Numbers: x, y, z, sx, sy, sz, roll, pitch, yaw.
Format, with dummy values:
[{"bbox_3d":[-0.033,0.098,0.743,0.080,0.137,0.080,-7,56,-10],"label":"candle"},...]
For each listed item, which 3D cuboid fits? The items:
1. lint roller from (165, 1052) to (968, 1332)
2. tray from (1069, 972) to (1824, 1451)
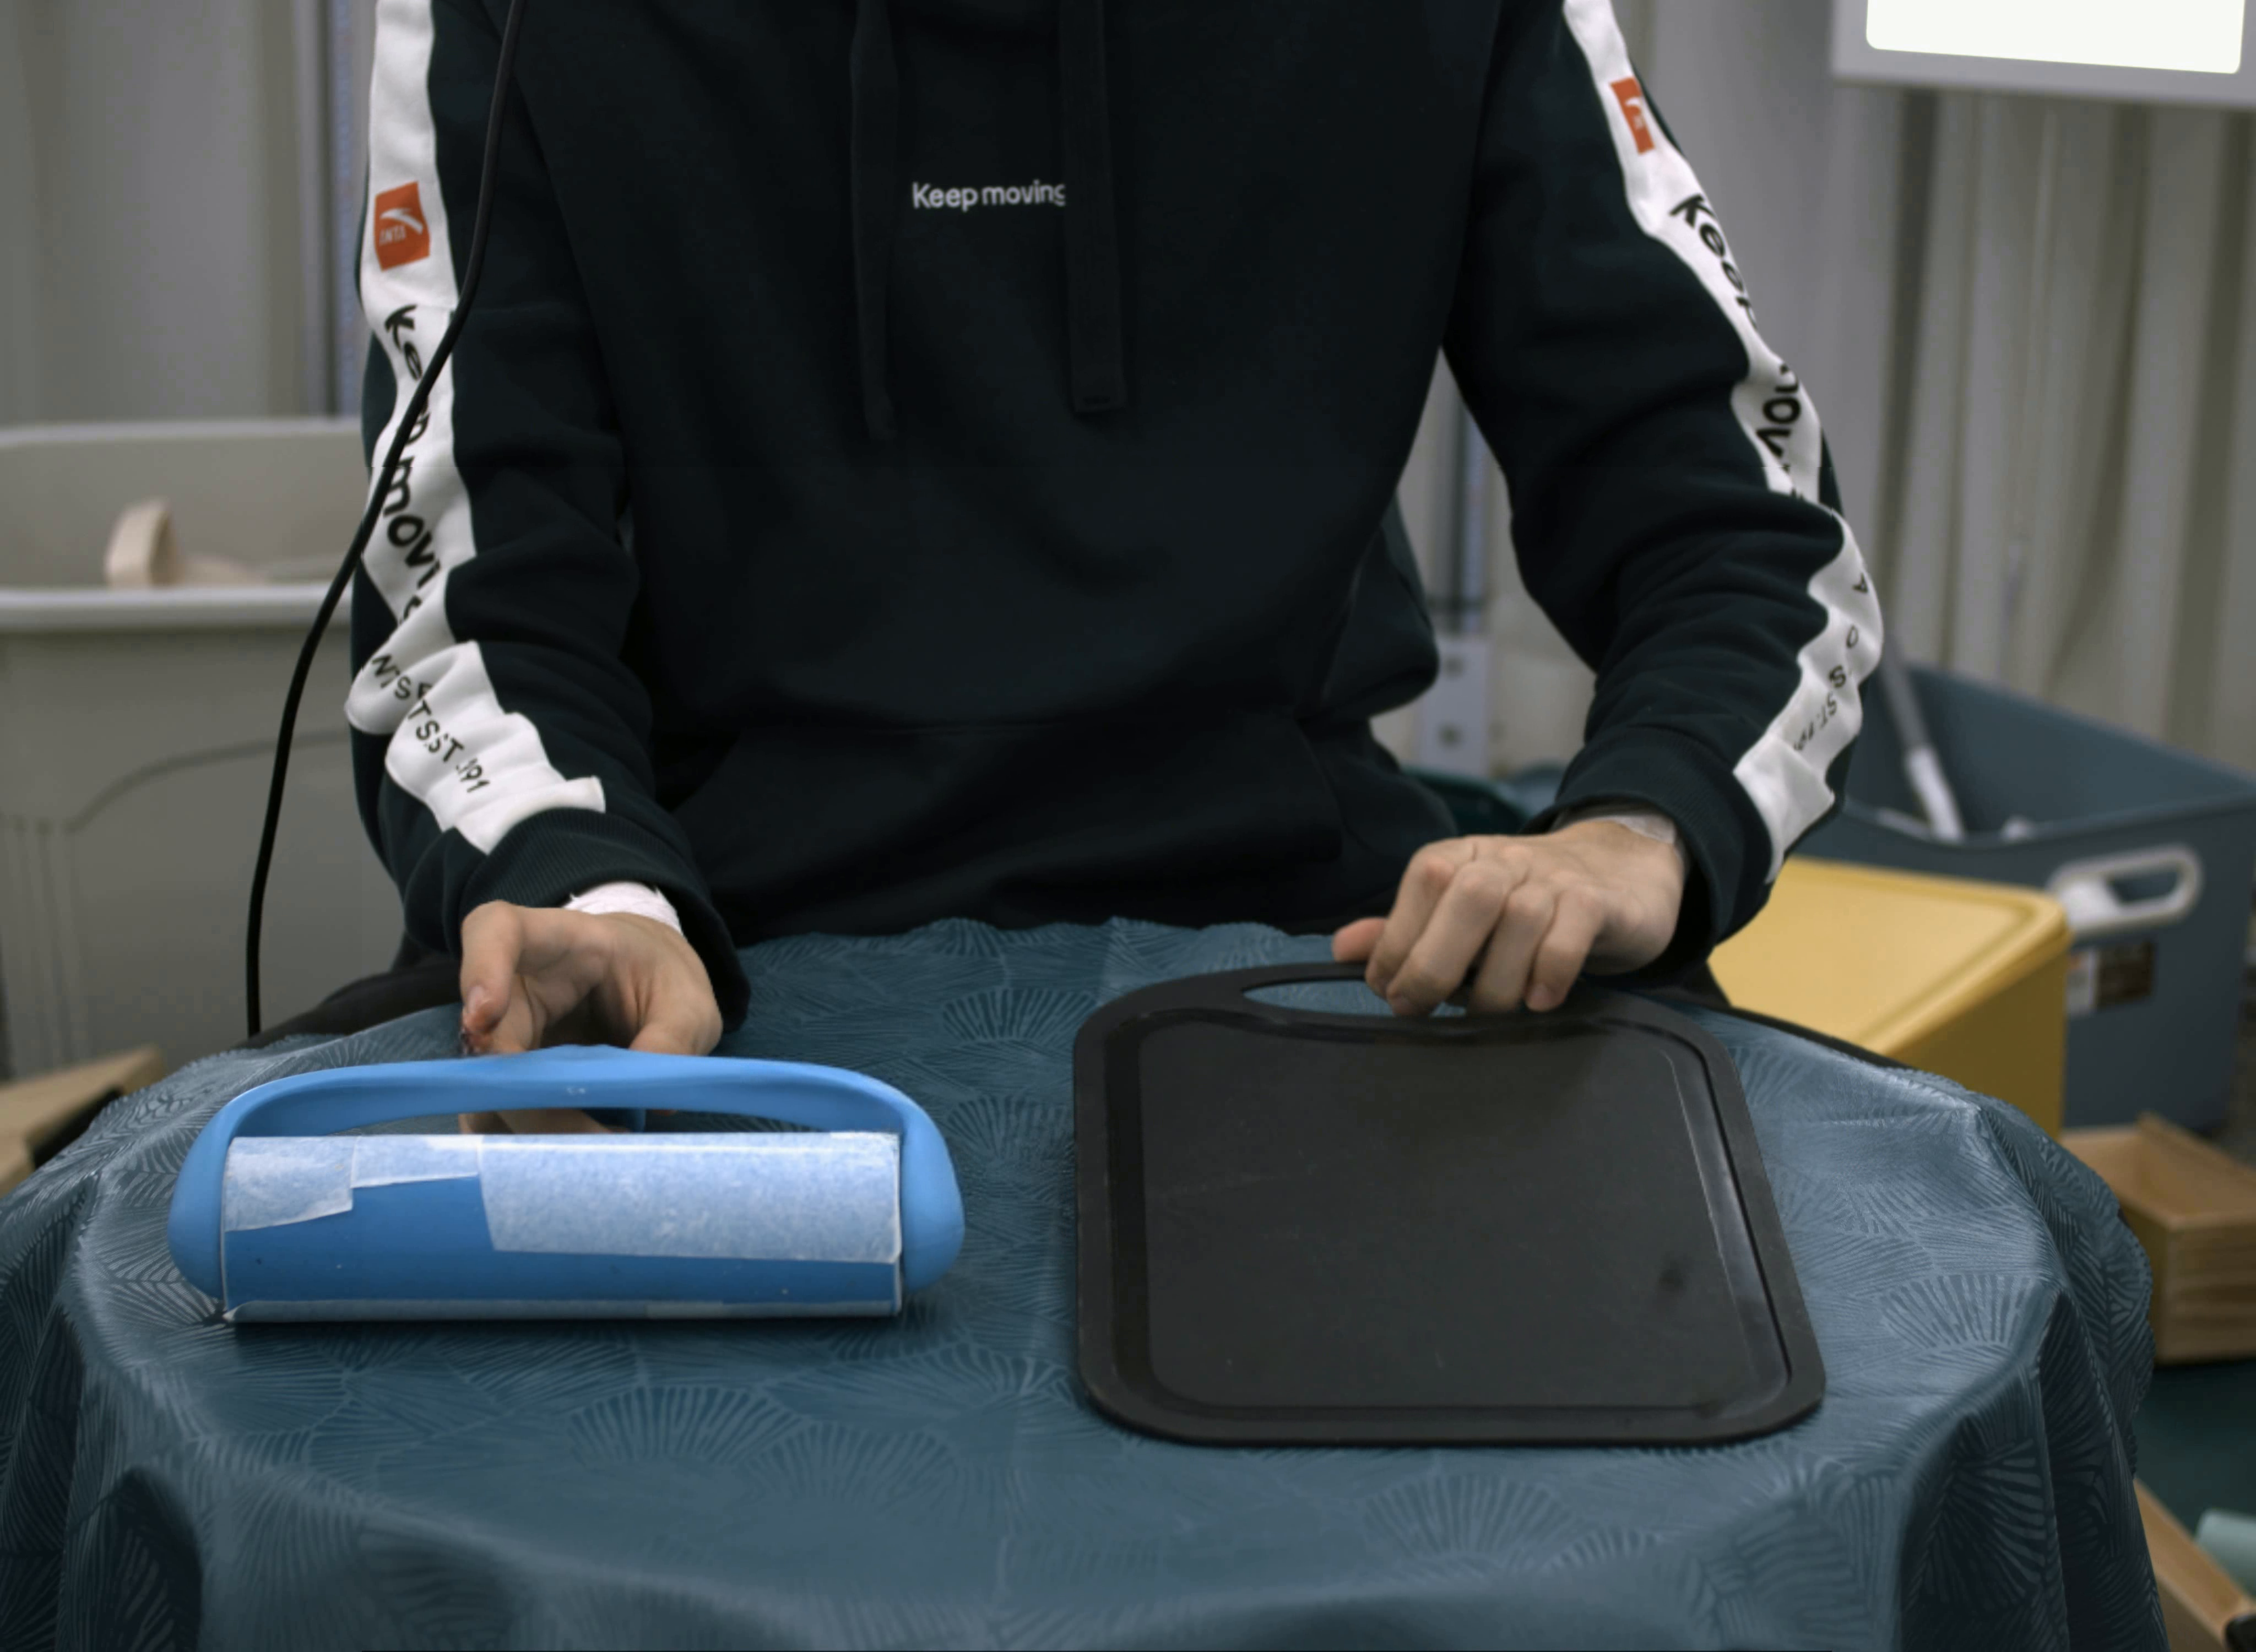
[{"bbox_3d":[-0.164,0.097,1.561,0.228,0.068,0.179,-3,17,-4],"label":"lint roller"},{"bbox_3d":[0.088,0.106,1.569,0.210,0.010,0.323,2,22,-1],"label":"tray"}]
